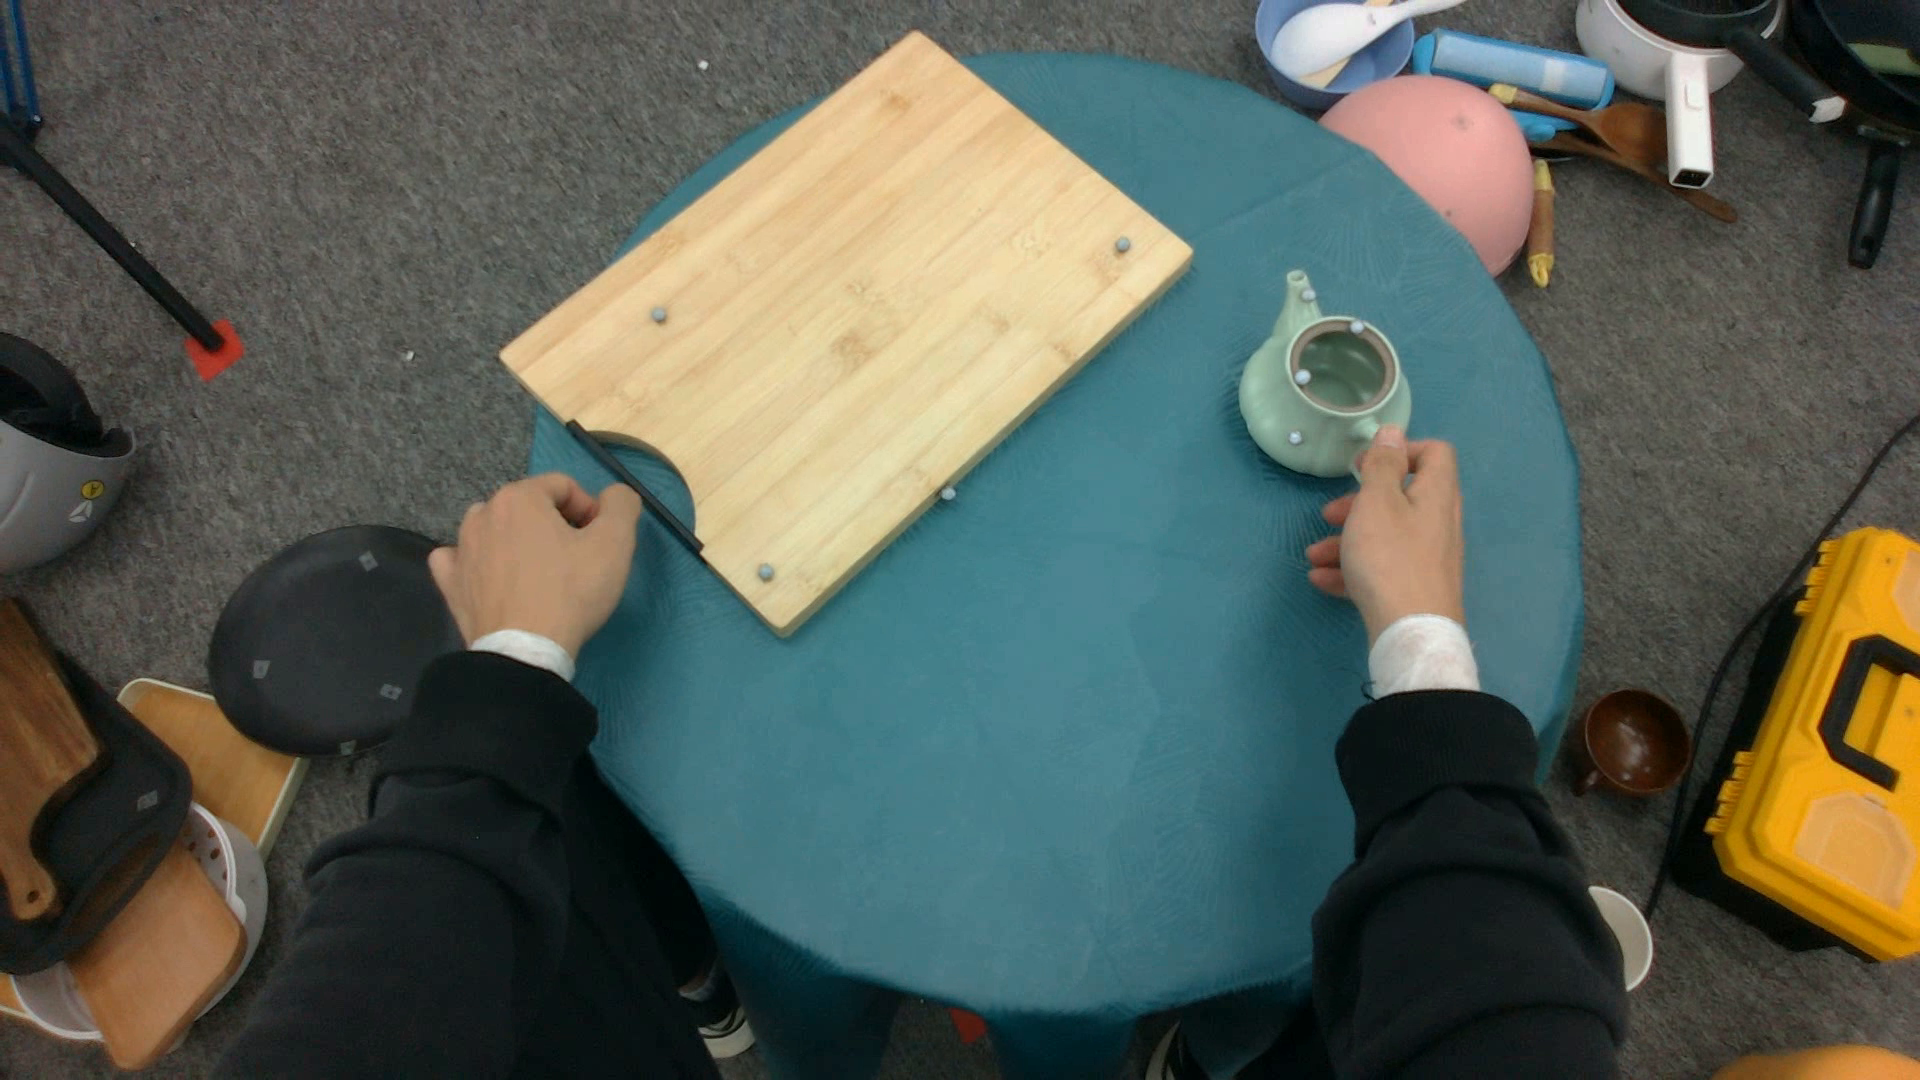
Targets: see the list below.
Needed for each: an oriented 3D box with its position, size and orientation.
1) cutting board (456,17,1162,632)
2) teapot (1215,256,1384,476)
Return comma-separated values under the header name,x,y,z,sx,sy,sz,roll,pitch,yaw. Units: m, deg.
name,x,y,z,sx,sy,sz,roll,pitch,yaw
cutting board,-0.081,-0.143,0.814,0.251,0.023,0.349,41,72,14
teapot,0.197,-0.092,0.778,0.096,0.061,0.137,-20,69,-11
